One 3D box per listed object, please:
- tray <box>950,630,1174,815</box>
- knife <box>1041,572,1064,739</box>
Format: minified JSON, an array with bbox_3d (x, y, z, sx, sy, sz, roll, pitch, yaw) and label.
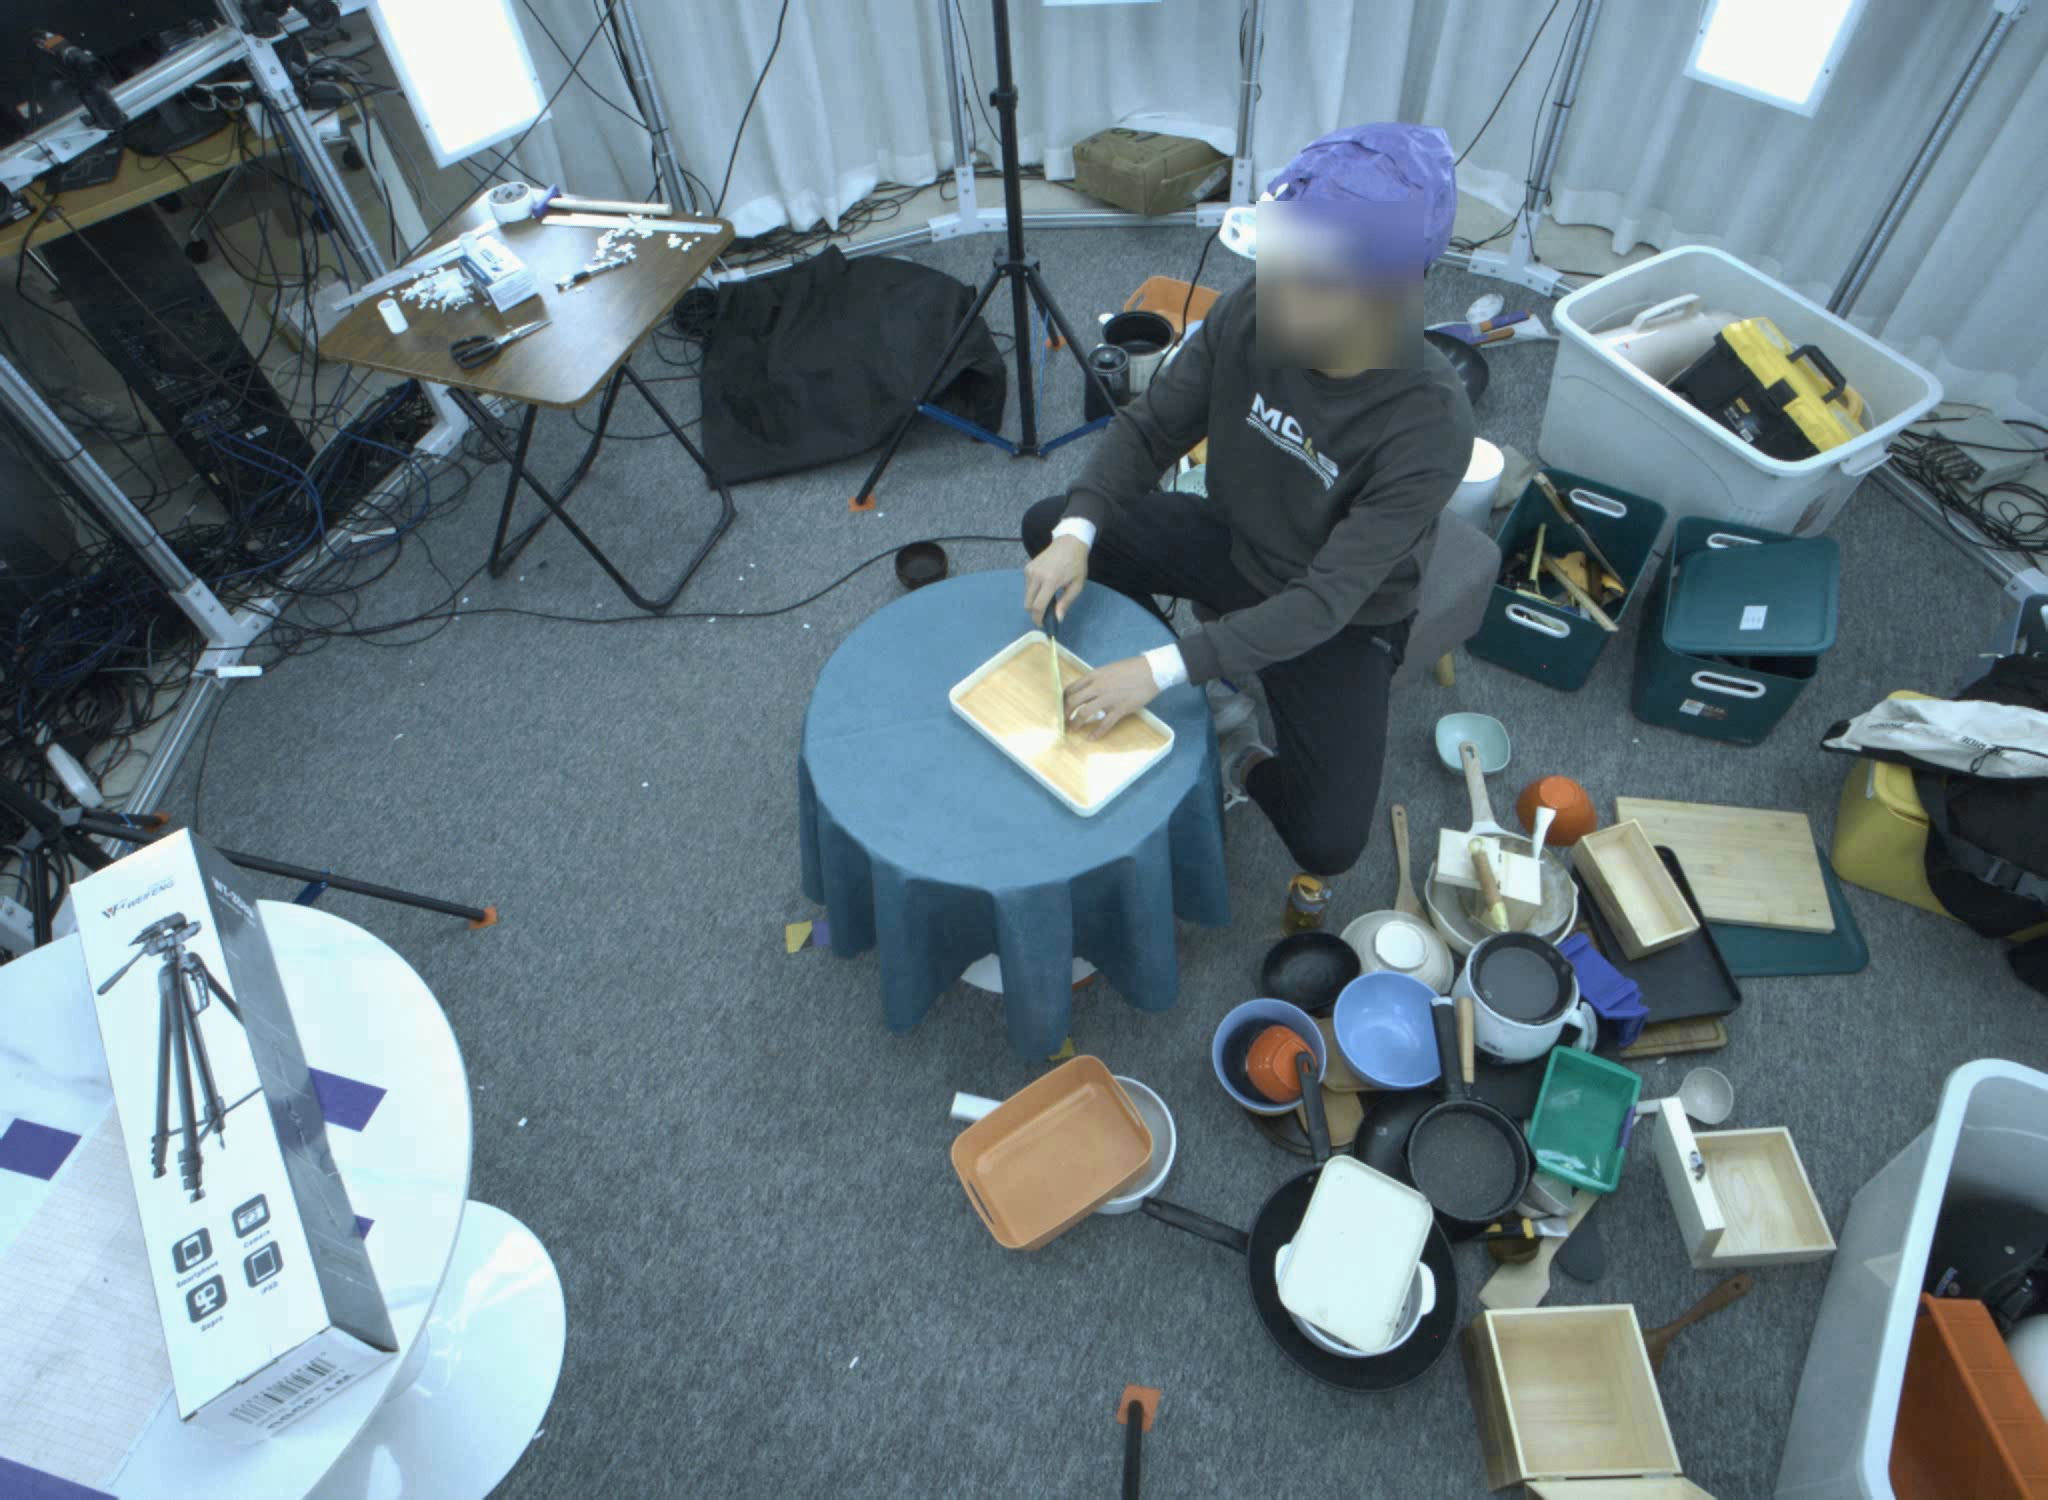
[{"bbox_3d":[0.053,-0.046,1.810,0.193,0.027,0.295,-38,62,-24],"label":"tray"},{"bbox_3d":[0.045,-0.142,1.834,0.027,0.081,0.286,-1,61,-6],"label":"knife"}]
